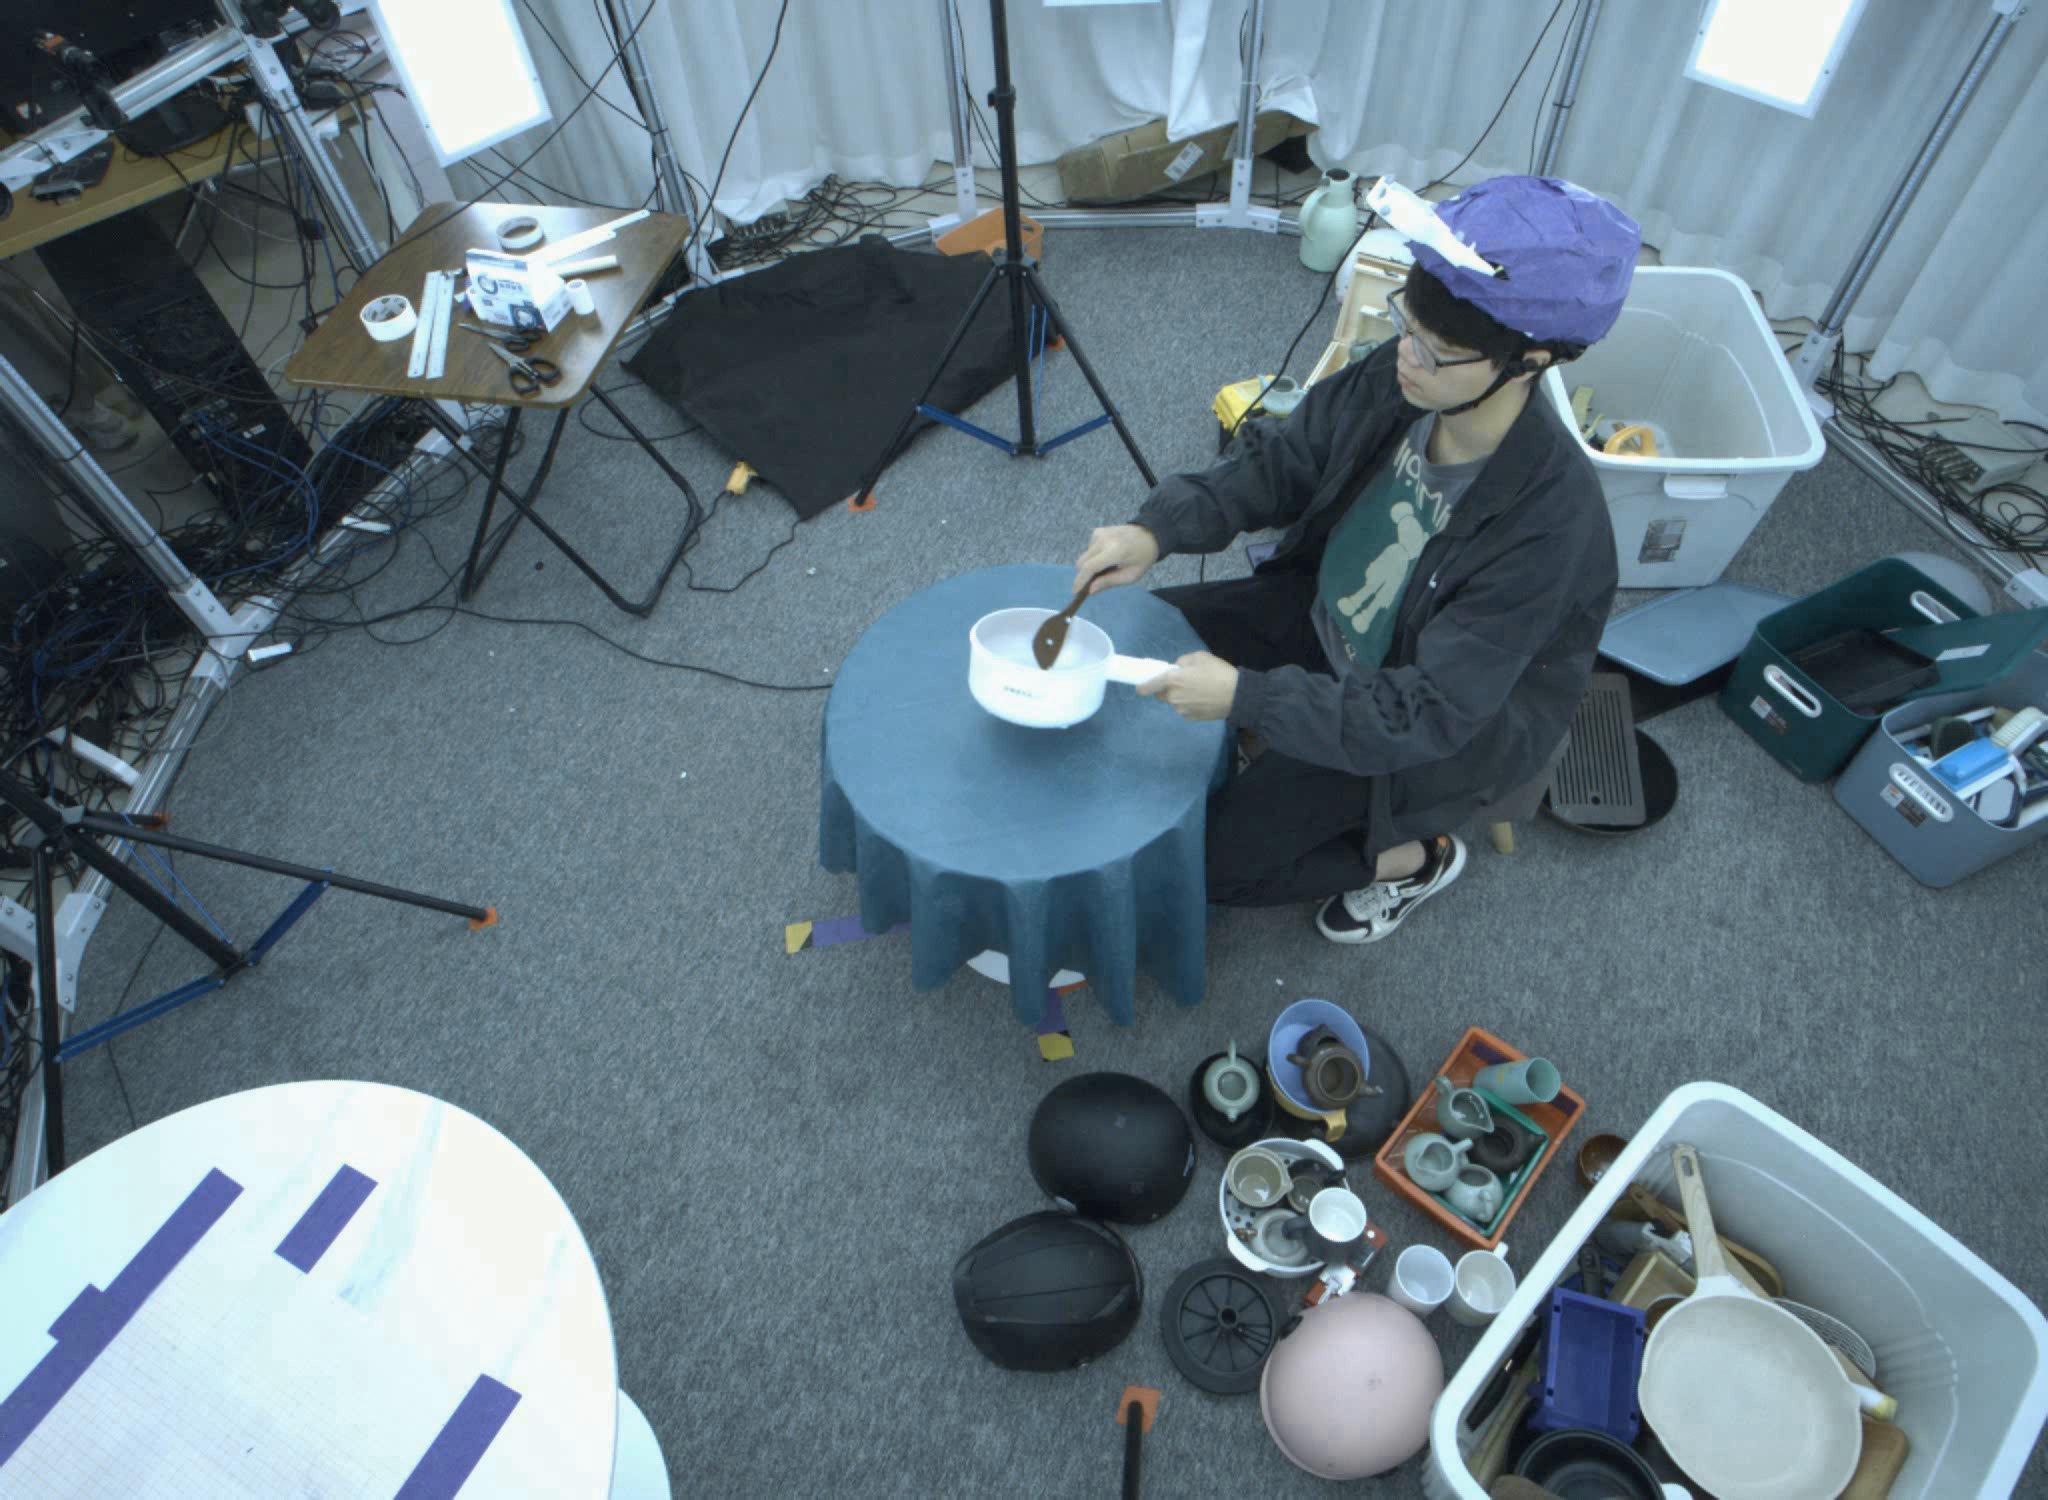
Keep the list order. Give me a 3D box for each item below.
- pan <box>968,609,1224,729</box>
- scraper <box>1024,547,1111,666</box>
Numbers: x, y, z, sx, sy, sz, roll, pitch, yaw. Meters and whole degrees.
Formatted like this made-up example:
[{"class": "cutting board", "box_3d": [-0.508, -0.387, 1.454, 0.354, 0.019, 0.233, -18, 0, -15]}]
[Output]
[{"class": "pan", "box_3d": [0.094, -0.093, 1.716, 0.354, 0.102, 0.201, 13, 31, 4]}, {"class": "scraper", "box_3d": [0.064, -0.210, 1.748, 0.010, 0.077, 0.212, 24, 66, 31]}]
